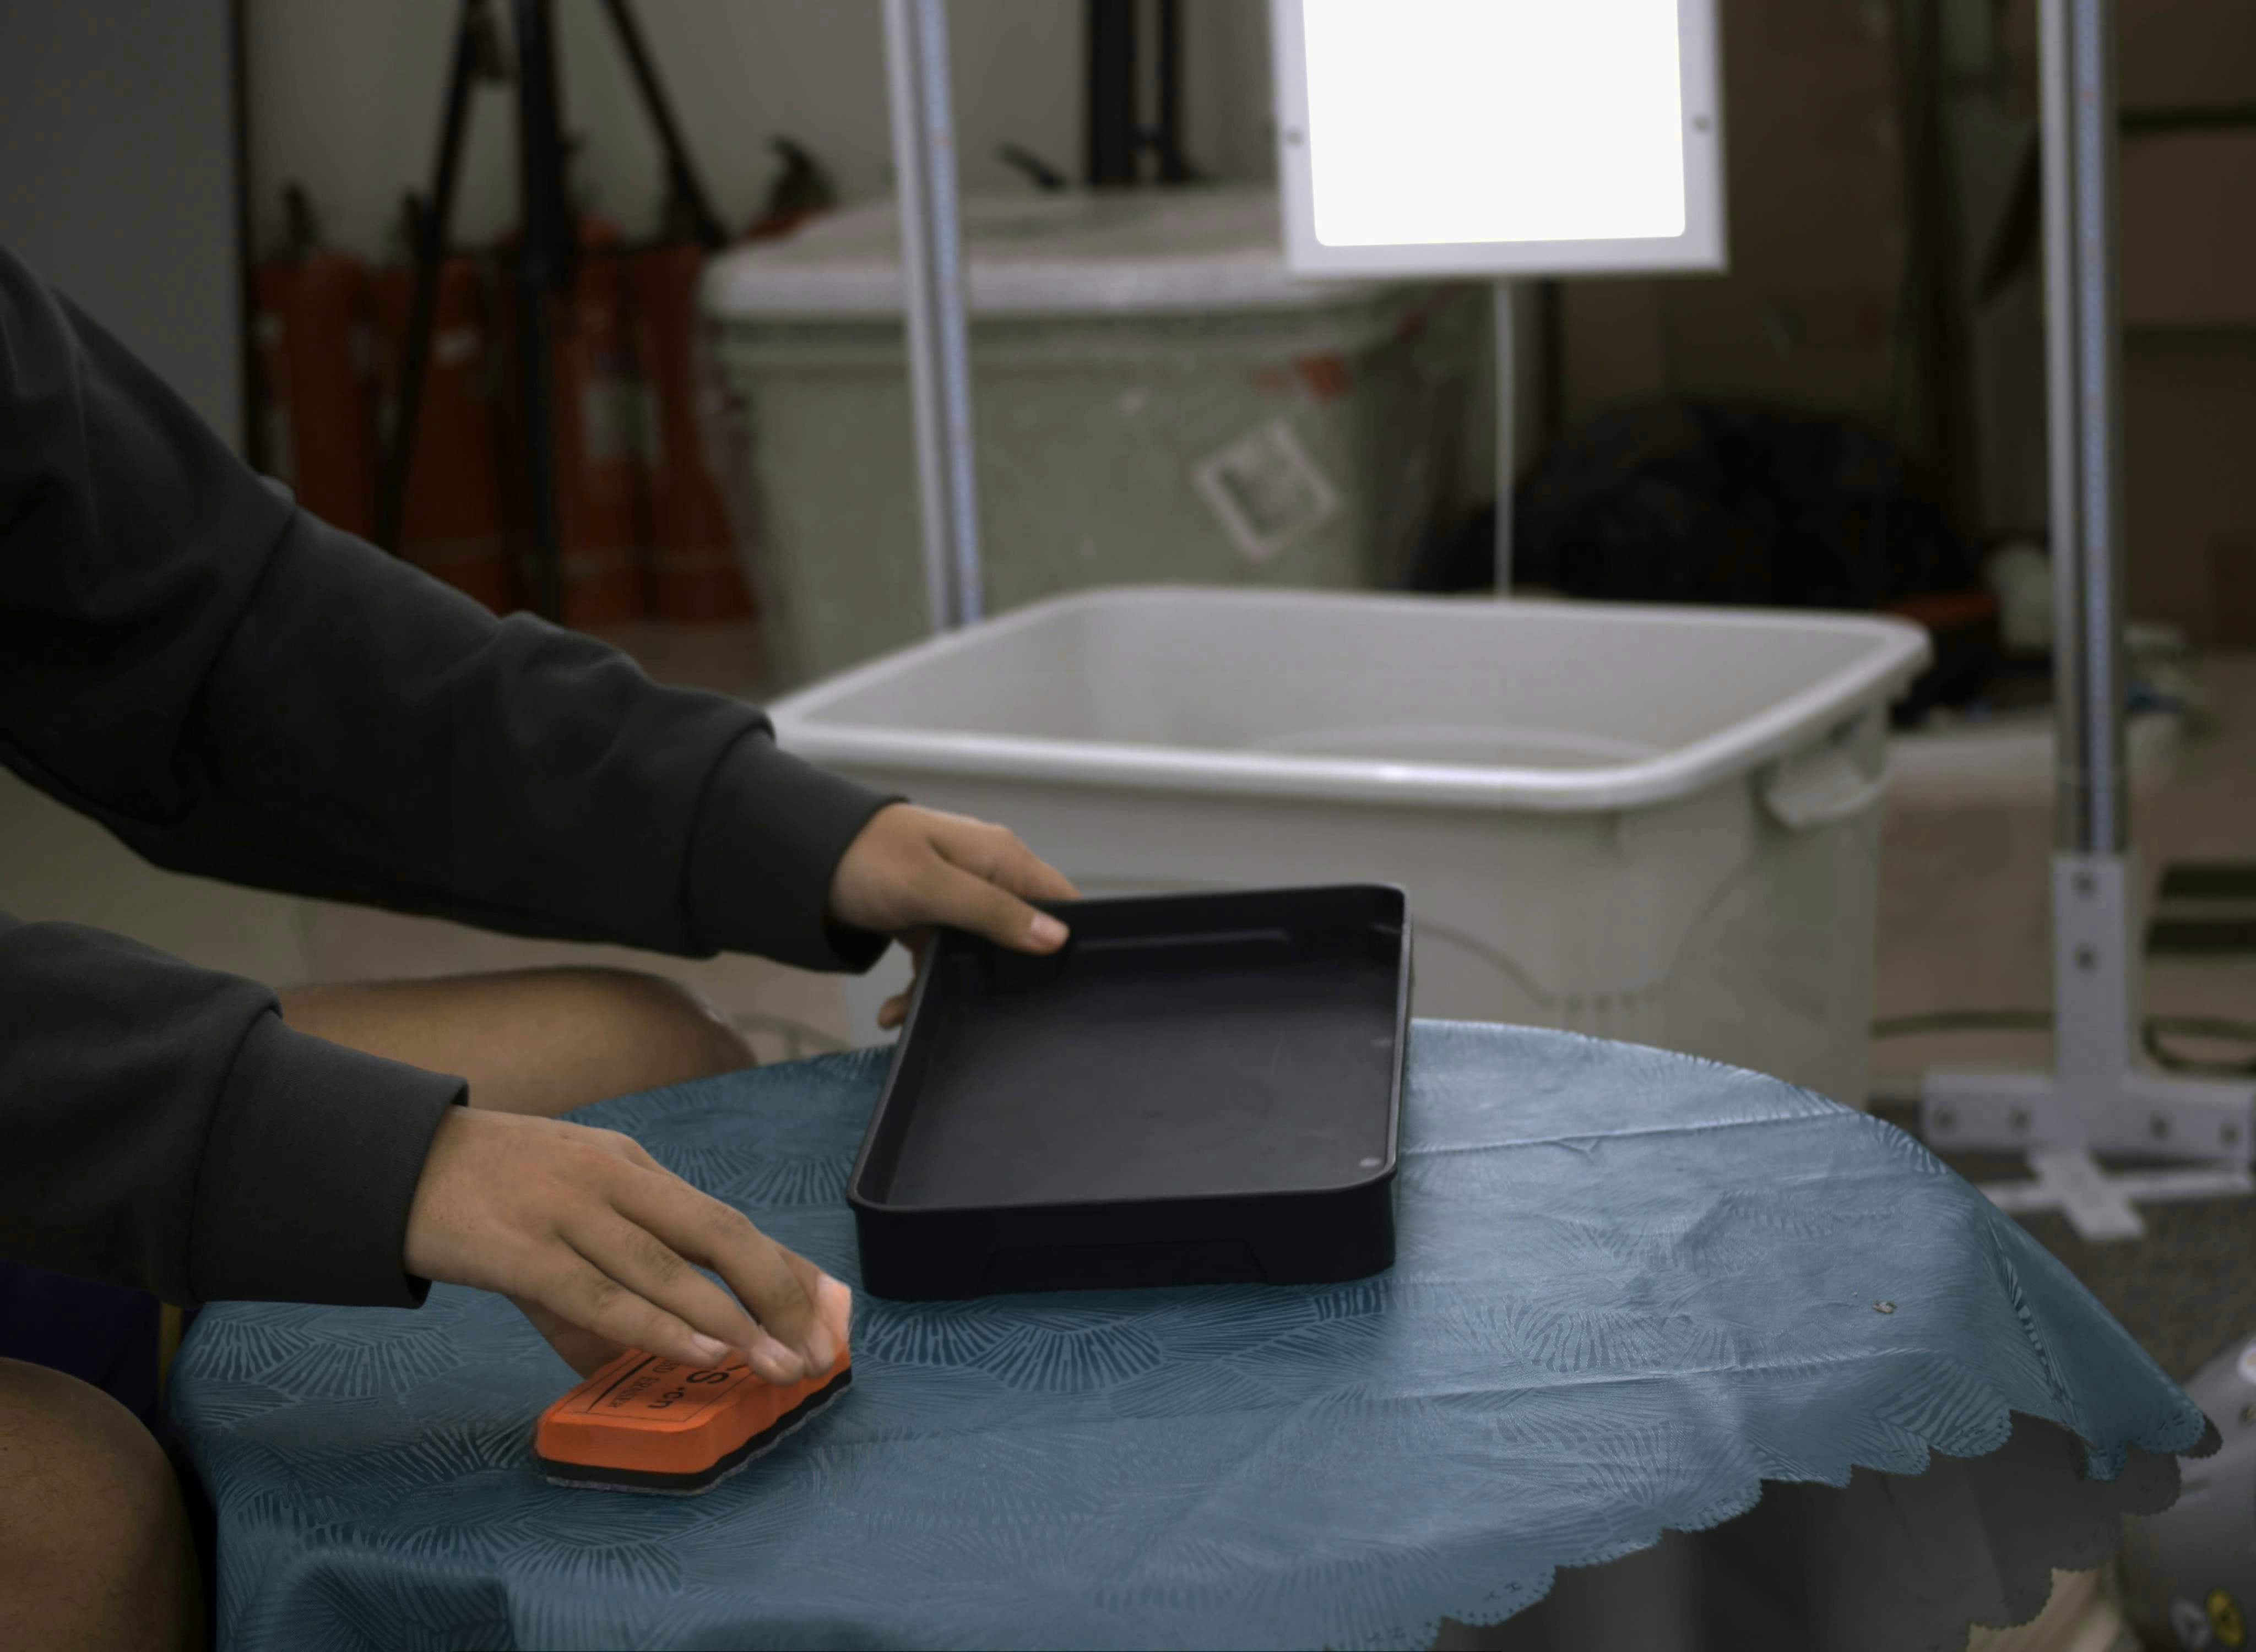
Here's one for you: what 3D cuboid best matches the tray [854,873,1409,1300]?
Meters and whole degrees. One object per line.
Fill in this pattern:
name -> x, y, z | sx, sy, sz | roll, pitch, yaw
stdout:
tray -> 0.009, 0.087, 1.940 | 0.185, 0.037, 0.316 | -5, 18, 5

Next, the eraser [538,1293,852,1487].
eraser -> -0.132, 0.173, 1.695 | 0.060, 0.023, 0.106 | -8, 13, 28
